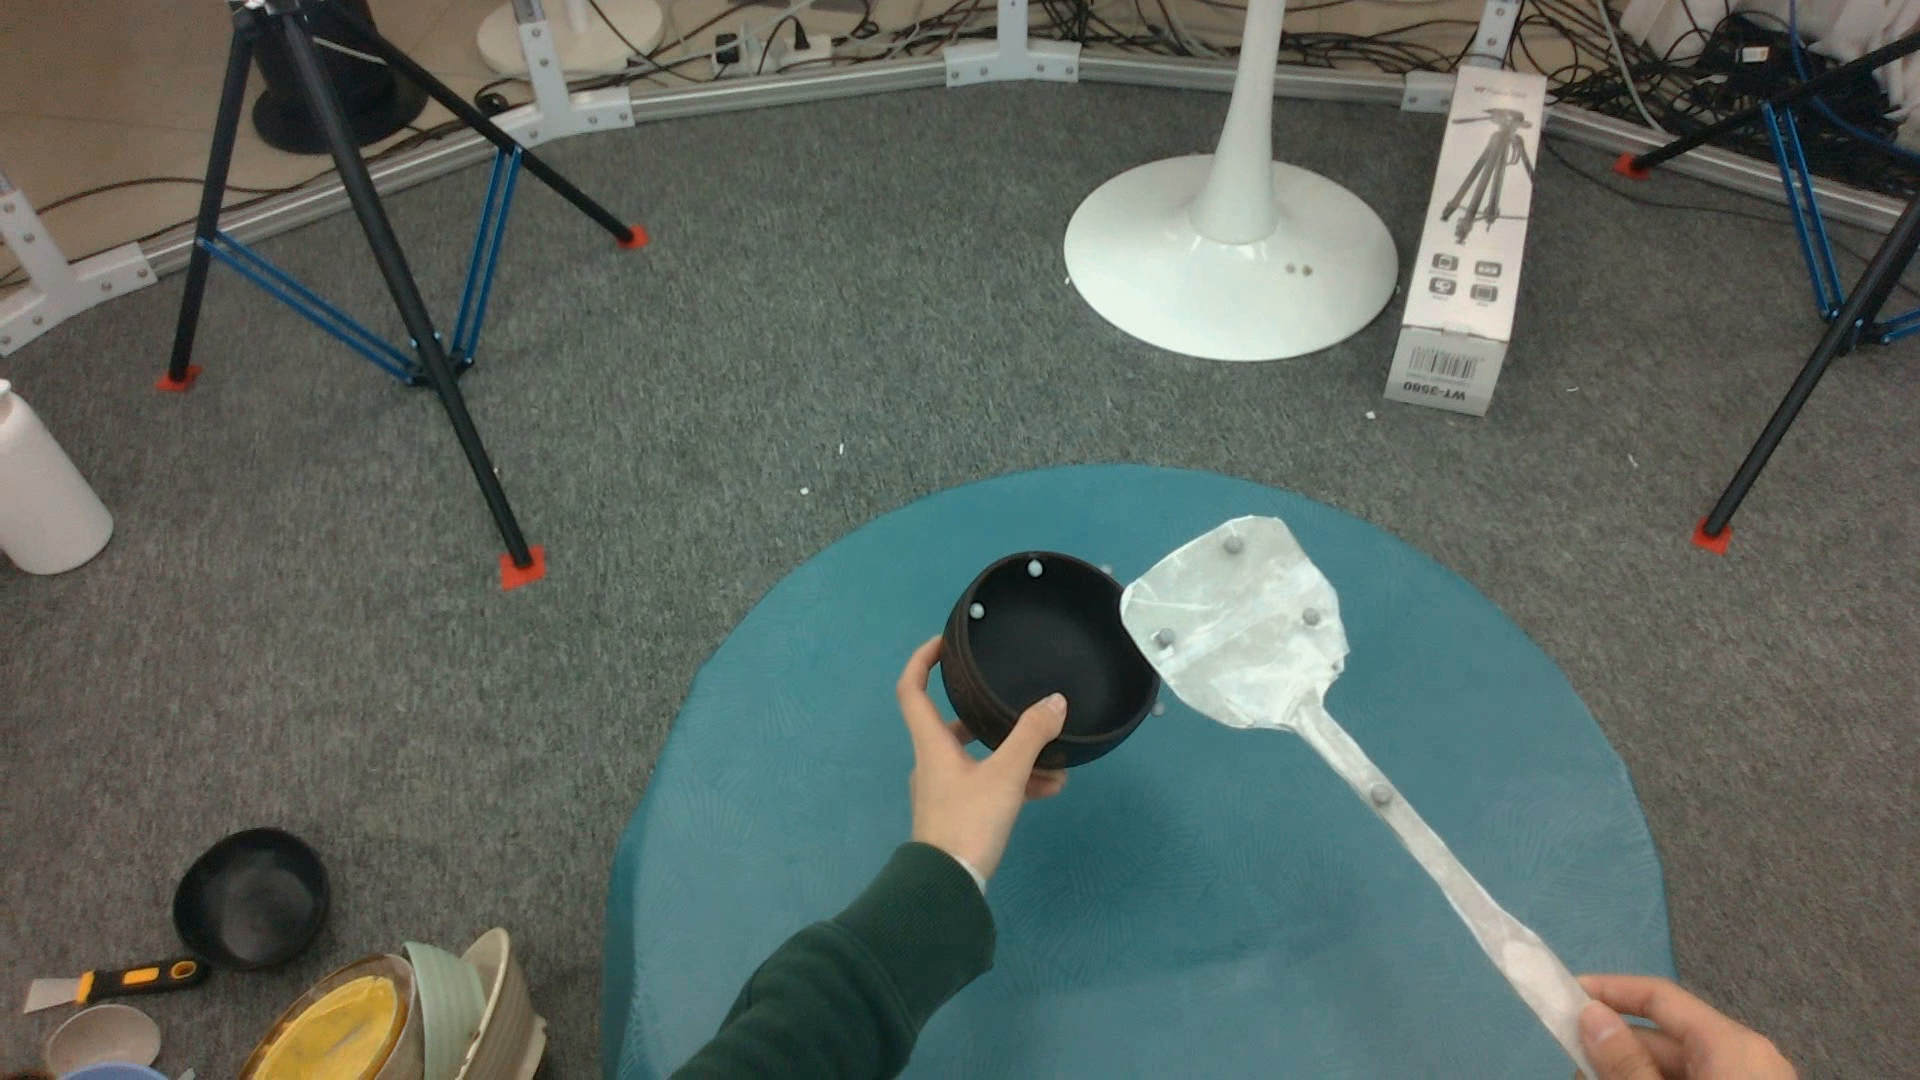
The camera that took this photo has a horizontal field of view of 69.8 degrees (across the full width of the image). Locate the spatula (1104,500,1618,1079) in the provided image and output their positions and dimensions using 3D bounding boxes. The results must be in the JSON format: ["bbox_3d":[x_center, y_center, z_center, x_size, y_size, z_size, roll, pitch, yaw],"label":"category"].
[{"bbox_3d":[0.185,0.120,0.596,0.099,0.044,0.366,-28,48,-6],"label":"spatula"}]

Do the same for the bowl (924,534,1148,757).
[{"bbox_3d":[0.035,0.063,0.745,0.118,0.069,0.118,10,57,-16],"label":"bowl"}]
